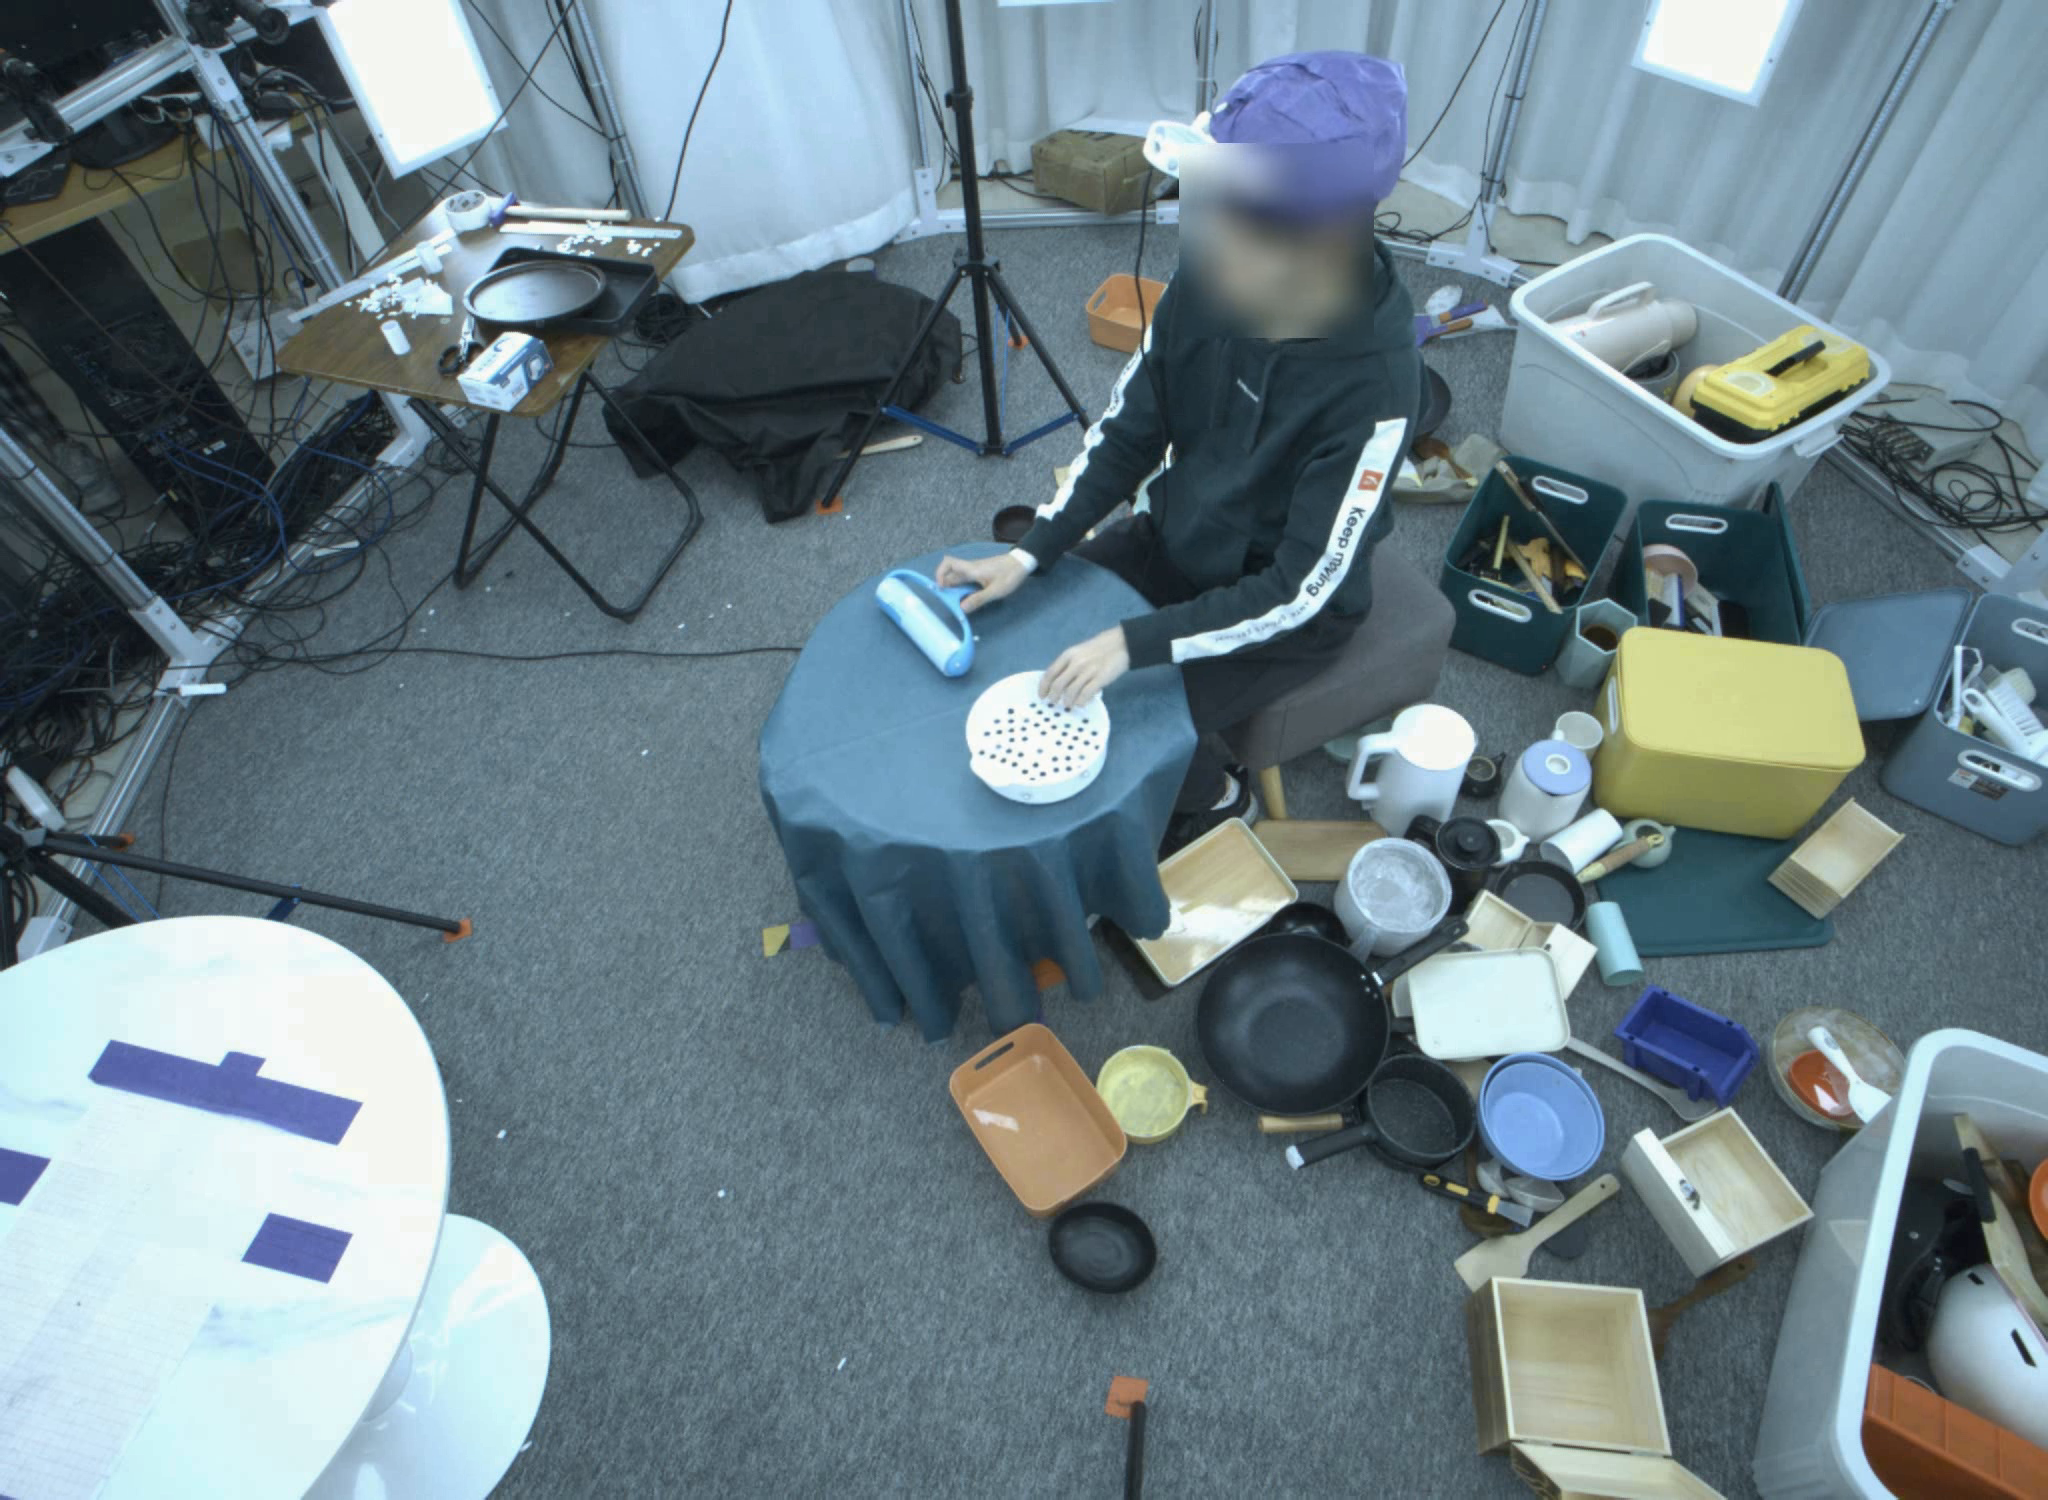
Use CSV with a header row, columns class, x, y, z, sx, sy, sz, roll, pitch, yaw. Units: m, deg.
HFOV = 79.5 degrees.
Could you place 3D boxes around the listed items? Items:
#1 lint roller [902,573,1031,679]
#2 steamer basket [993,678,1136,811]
class,x,y,z,sx,sy,sz,roll,pitch,yaw
lint roller,-0.067,-0.220,1.908,0.181,0.069,0.224,-35,59,-20
steamer basket,0.057,-0.007,1.744,0.198,0.070,0.232,37,63,24
